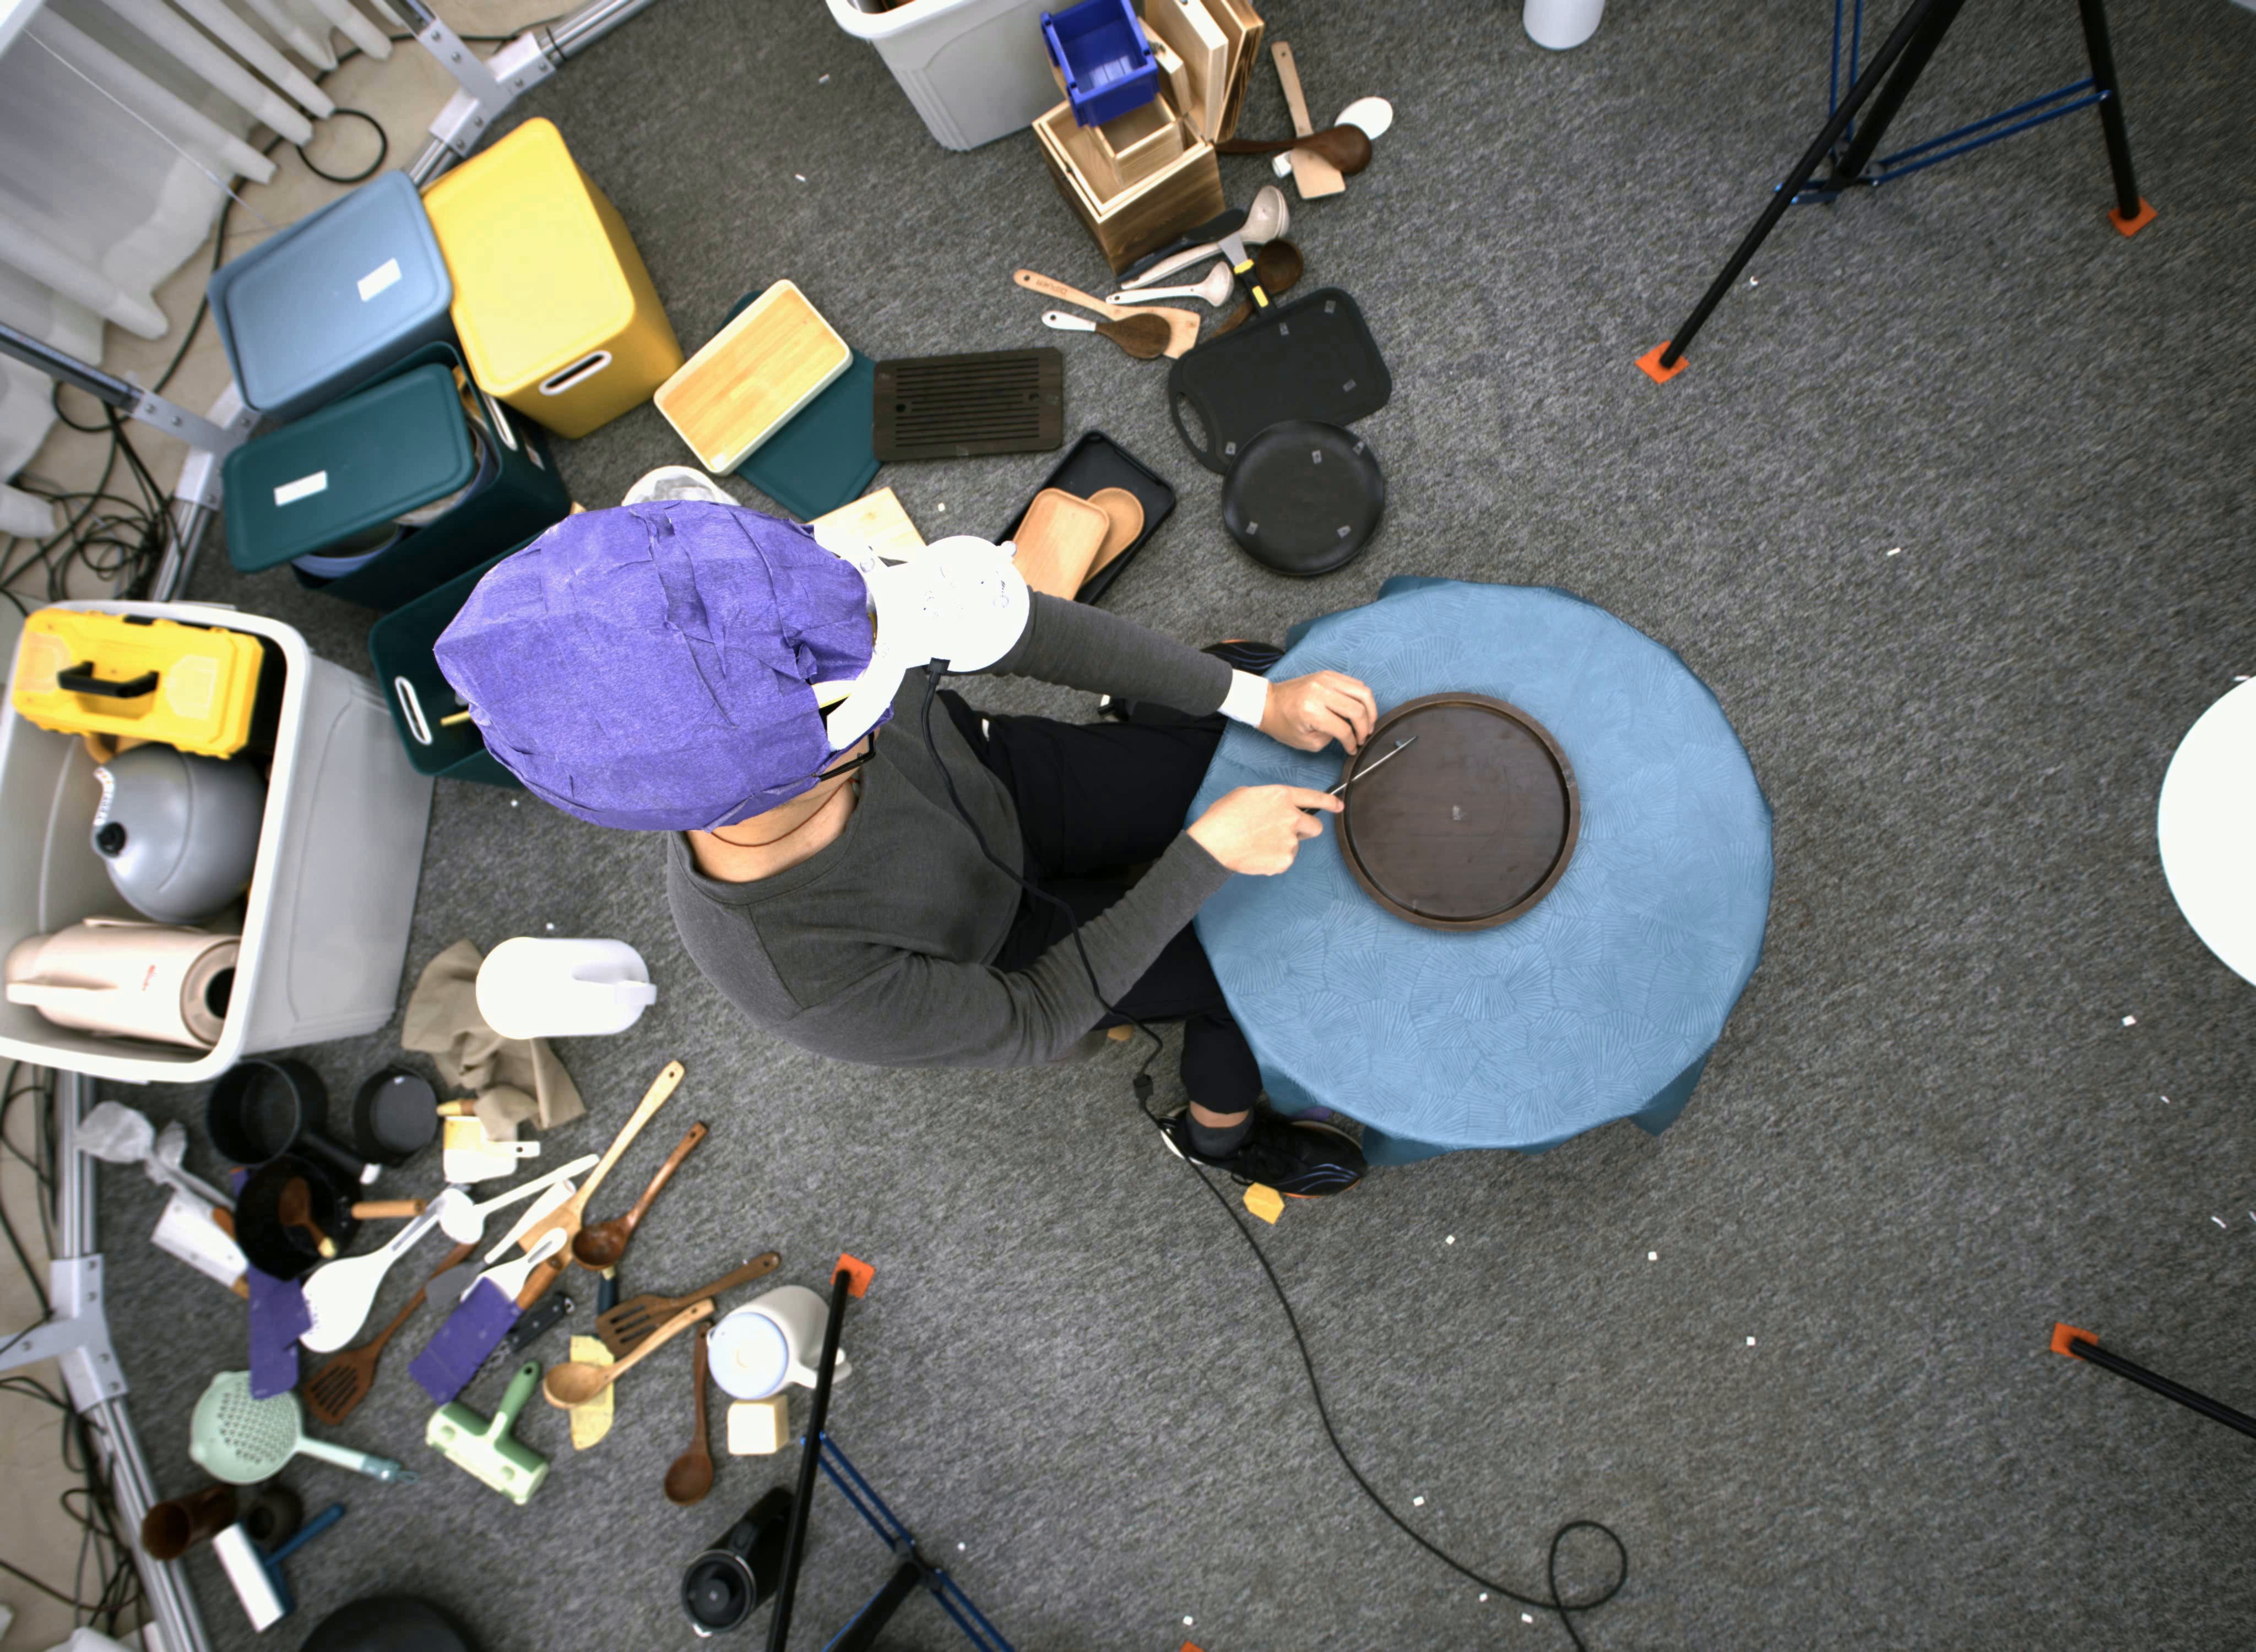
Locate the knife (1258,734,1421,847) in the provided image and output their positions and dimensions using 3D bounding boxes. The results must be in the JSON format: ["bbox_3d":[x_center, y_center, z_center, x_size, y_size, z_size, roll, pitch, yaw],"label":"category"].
[{"bbox_3d":[0.221,-0.043,1.401,0.234,0.025,0.016,-32,77,-25],"label":"knife"}]

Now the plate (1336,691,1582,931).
[{"bbox_3d":[0.344,-0.018,1.440,0.256,0.029,0.253,-1,86,10],"label":"plate"}]
